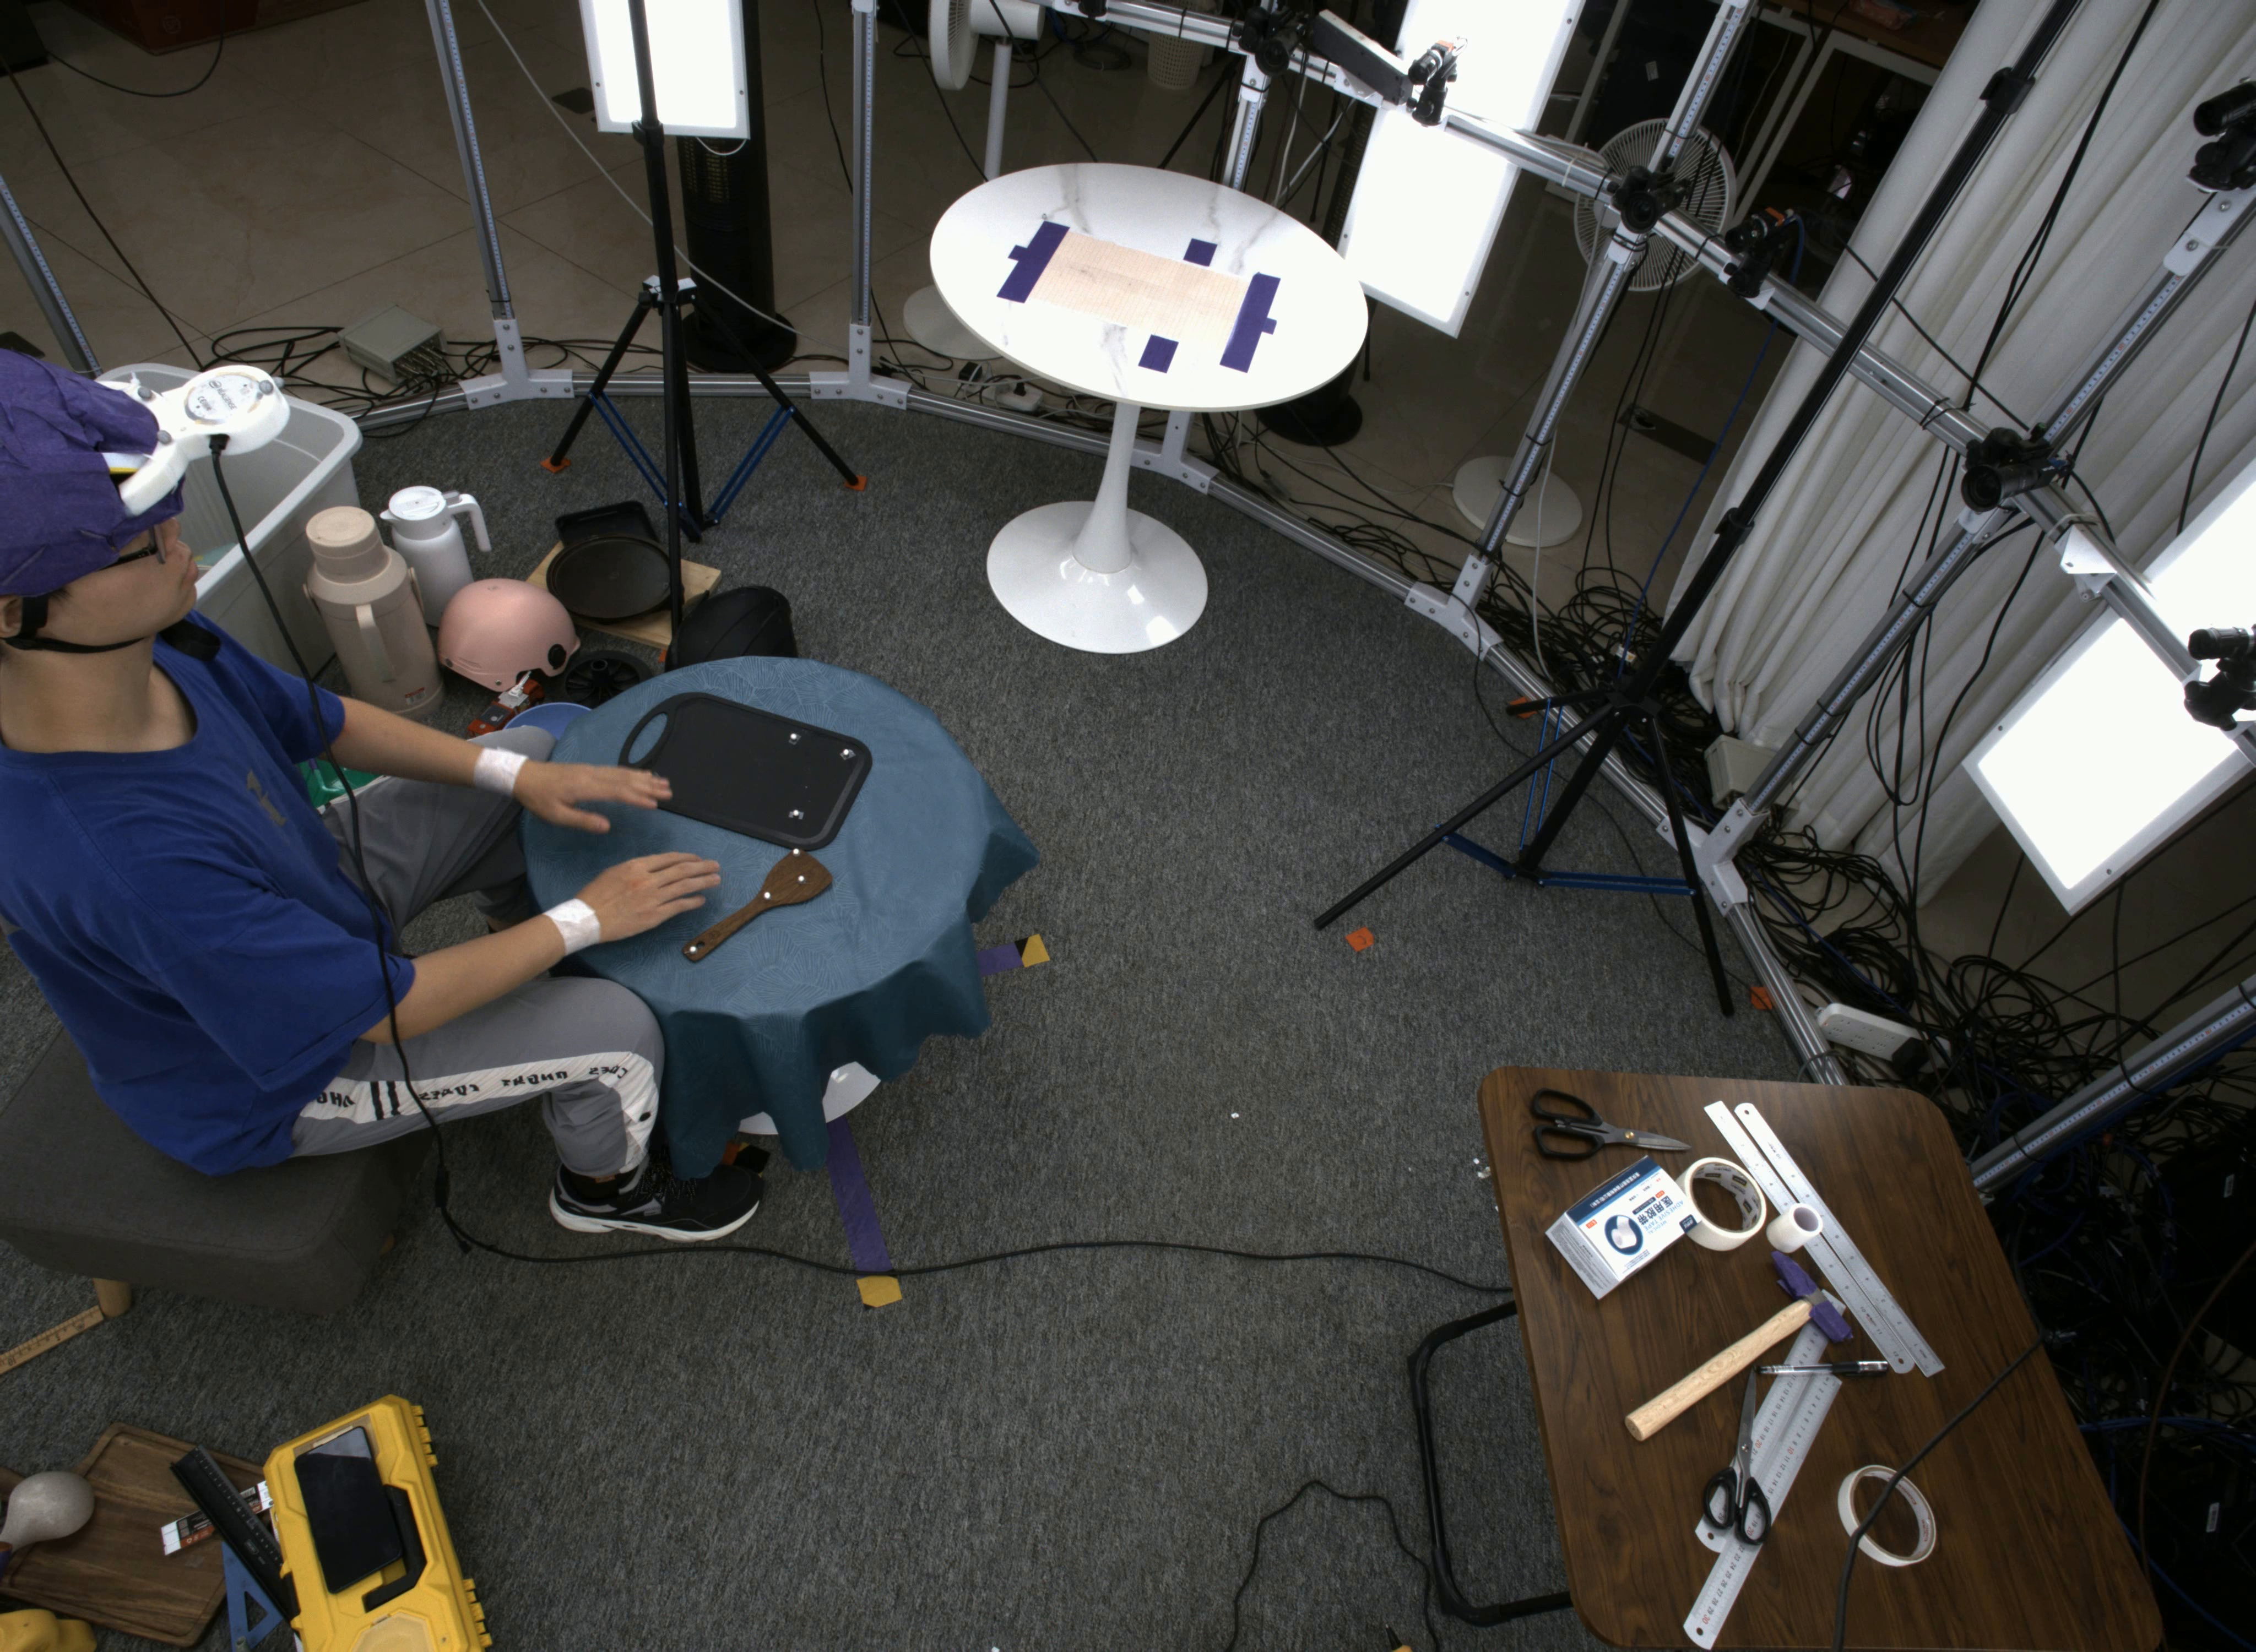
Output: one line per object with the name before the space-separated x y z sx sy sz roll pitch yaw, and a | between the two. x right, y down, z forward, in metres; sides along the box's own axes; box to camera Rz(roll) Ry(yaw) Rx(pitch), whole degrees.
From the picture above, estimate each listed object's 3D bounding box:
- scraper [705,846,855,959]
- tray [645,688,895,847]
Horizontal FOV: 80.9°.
scraper | -0.447 0.100 1.649 0.074 0.011 0.211 41 56 17
tray | -0.498 -0.088 1.776 0.322 0.010 0.209 19 52 0
